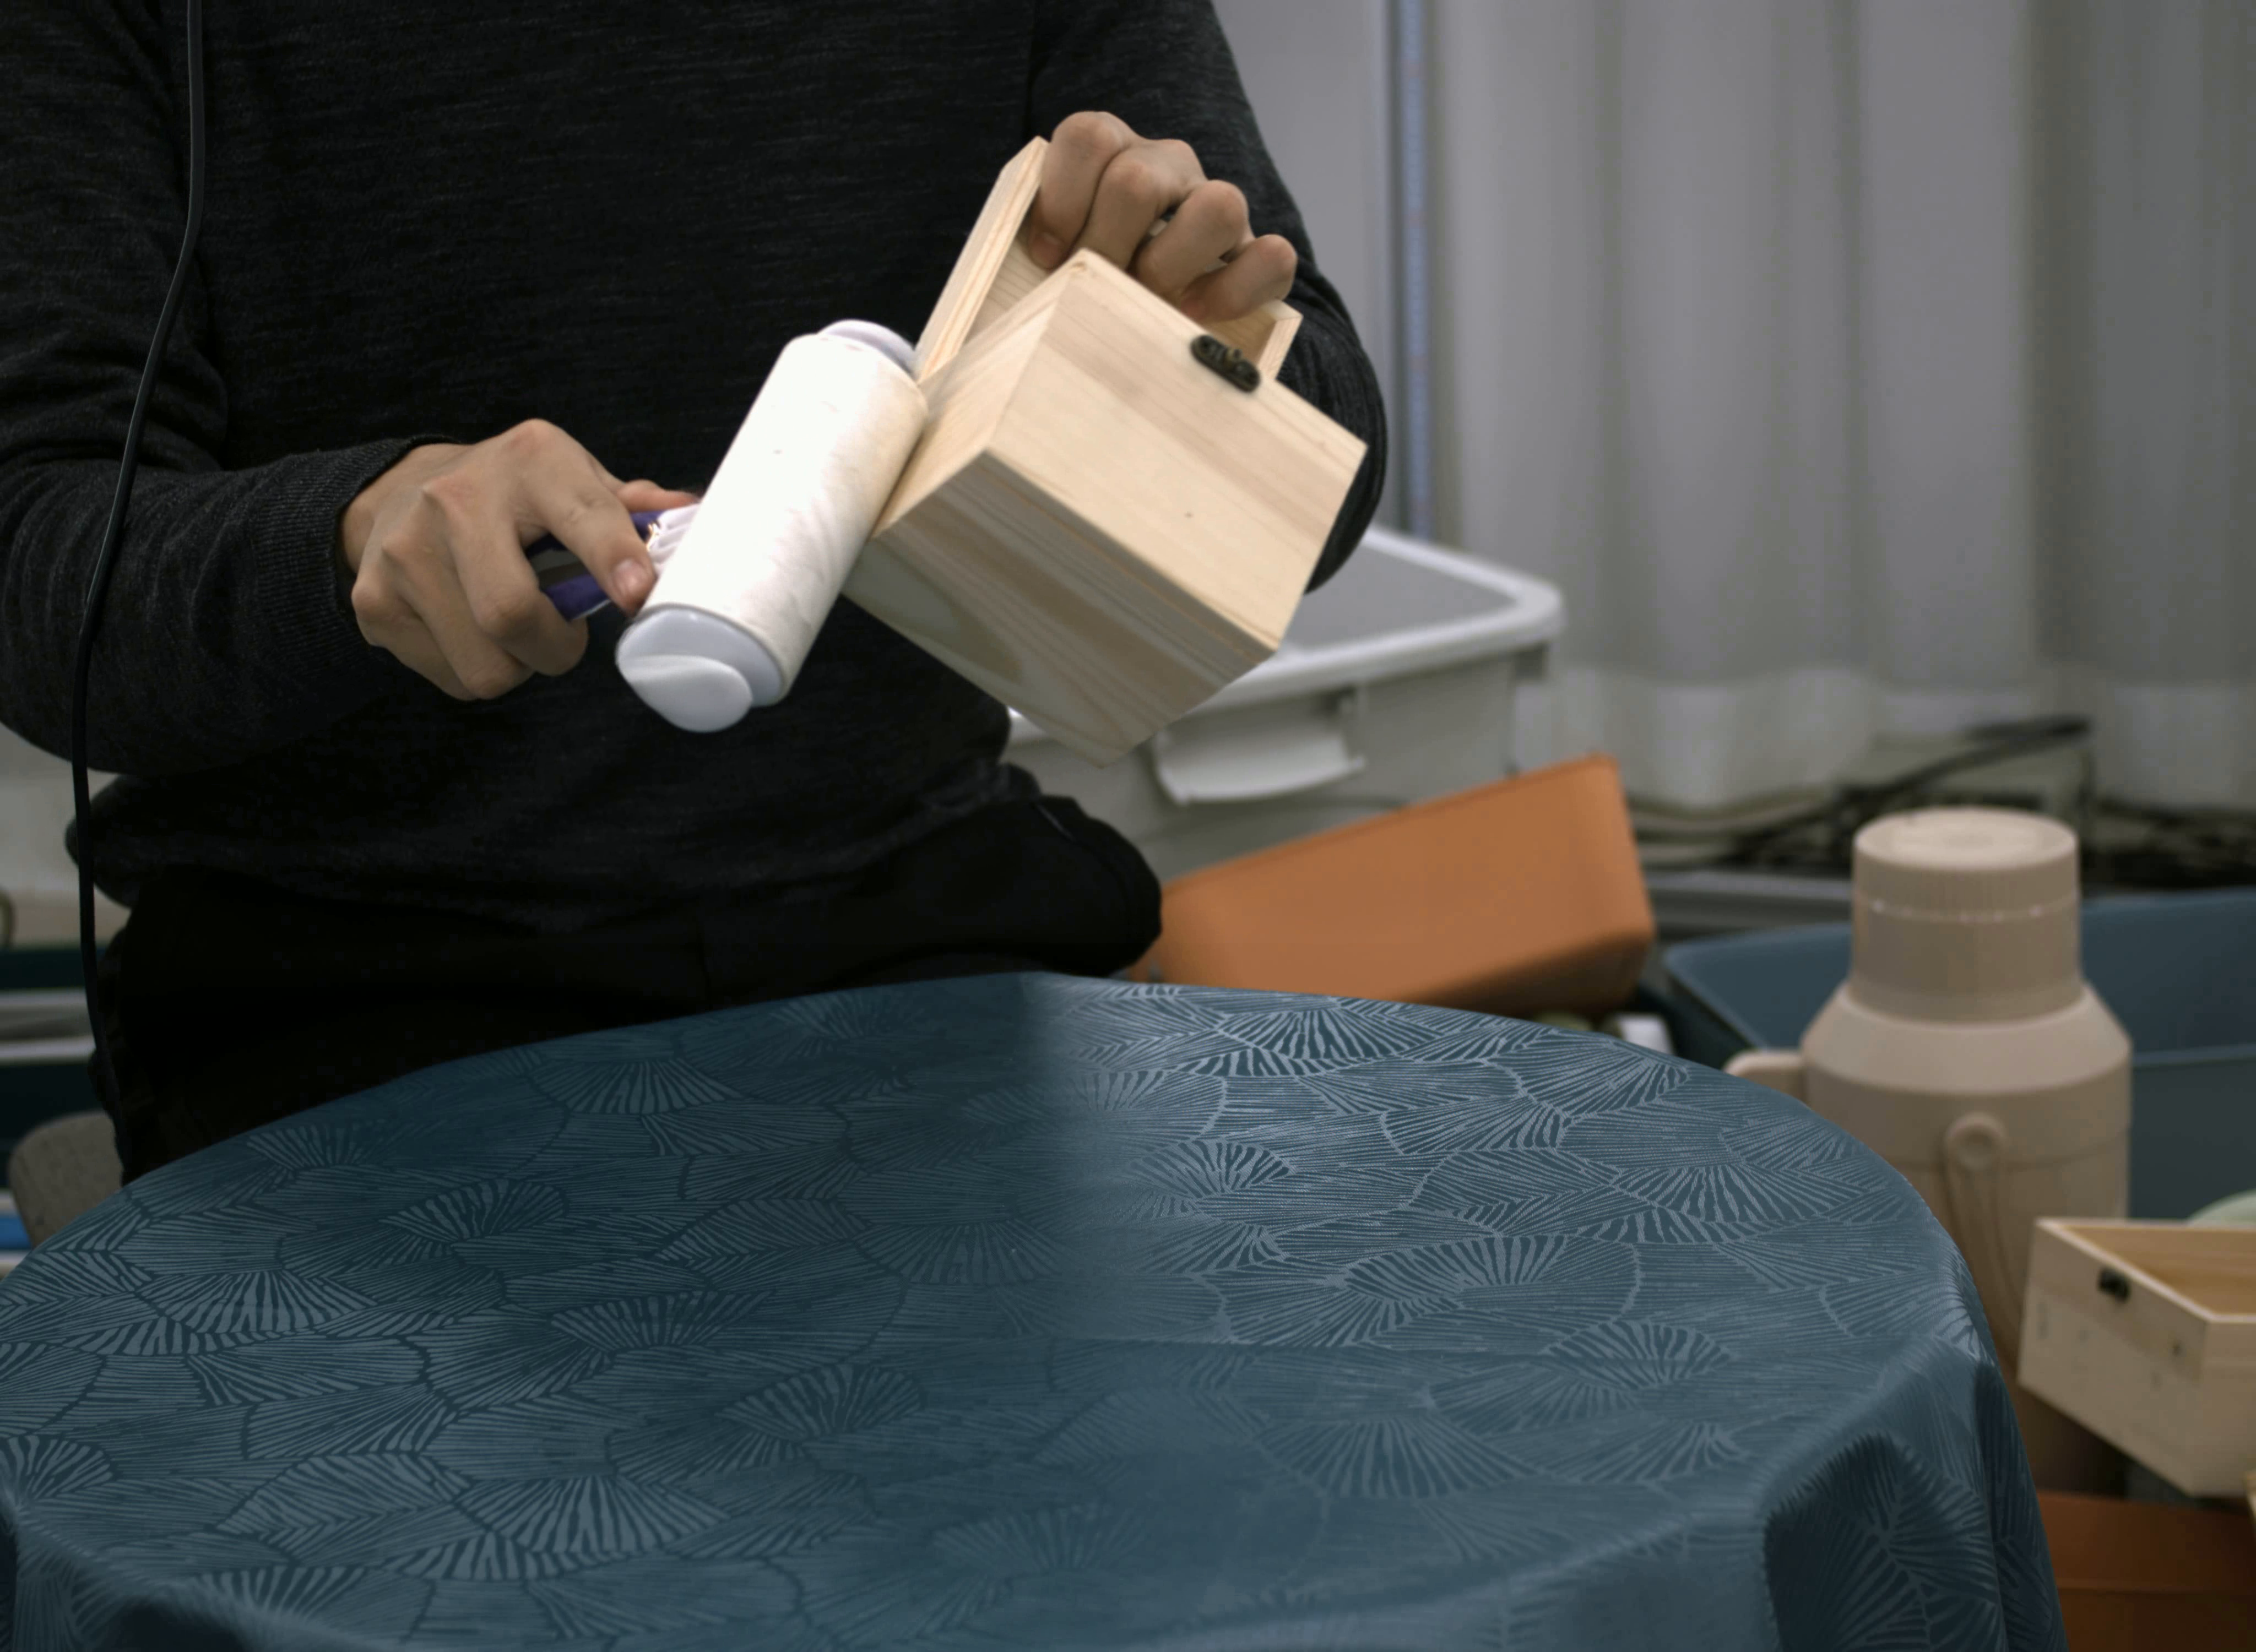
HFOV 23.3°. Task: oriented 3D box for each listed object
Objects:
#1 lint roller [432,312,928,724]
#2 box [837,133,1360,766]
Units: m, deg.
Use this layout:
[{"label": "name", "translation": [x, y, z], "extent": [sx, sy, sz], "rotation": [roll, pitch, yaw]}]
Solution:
[{"label": "lint roller", "translation": [-0.145, -0.086, 1.577], "extent": [0.181, 0.049, 0.134], "rotation": [-1, 52, 40]}, {"label": "box", "translation": [0.003, -0.128, 1.592], "extent": [0.133, 0.102, 0.186], "rotation": [-34, 26, 54]}]
